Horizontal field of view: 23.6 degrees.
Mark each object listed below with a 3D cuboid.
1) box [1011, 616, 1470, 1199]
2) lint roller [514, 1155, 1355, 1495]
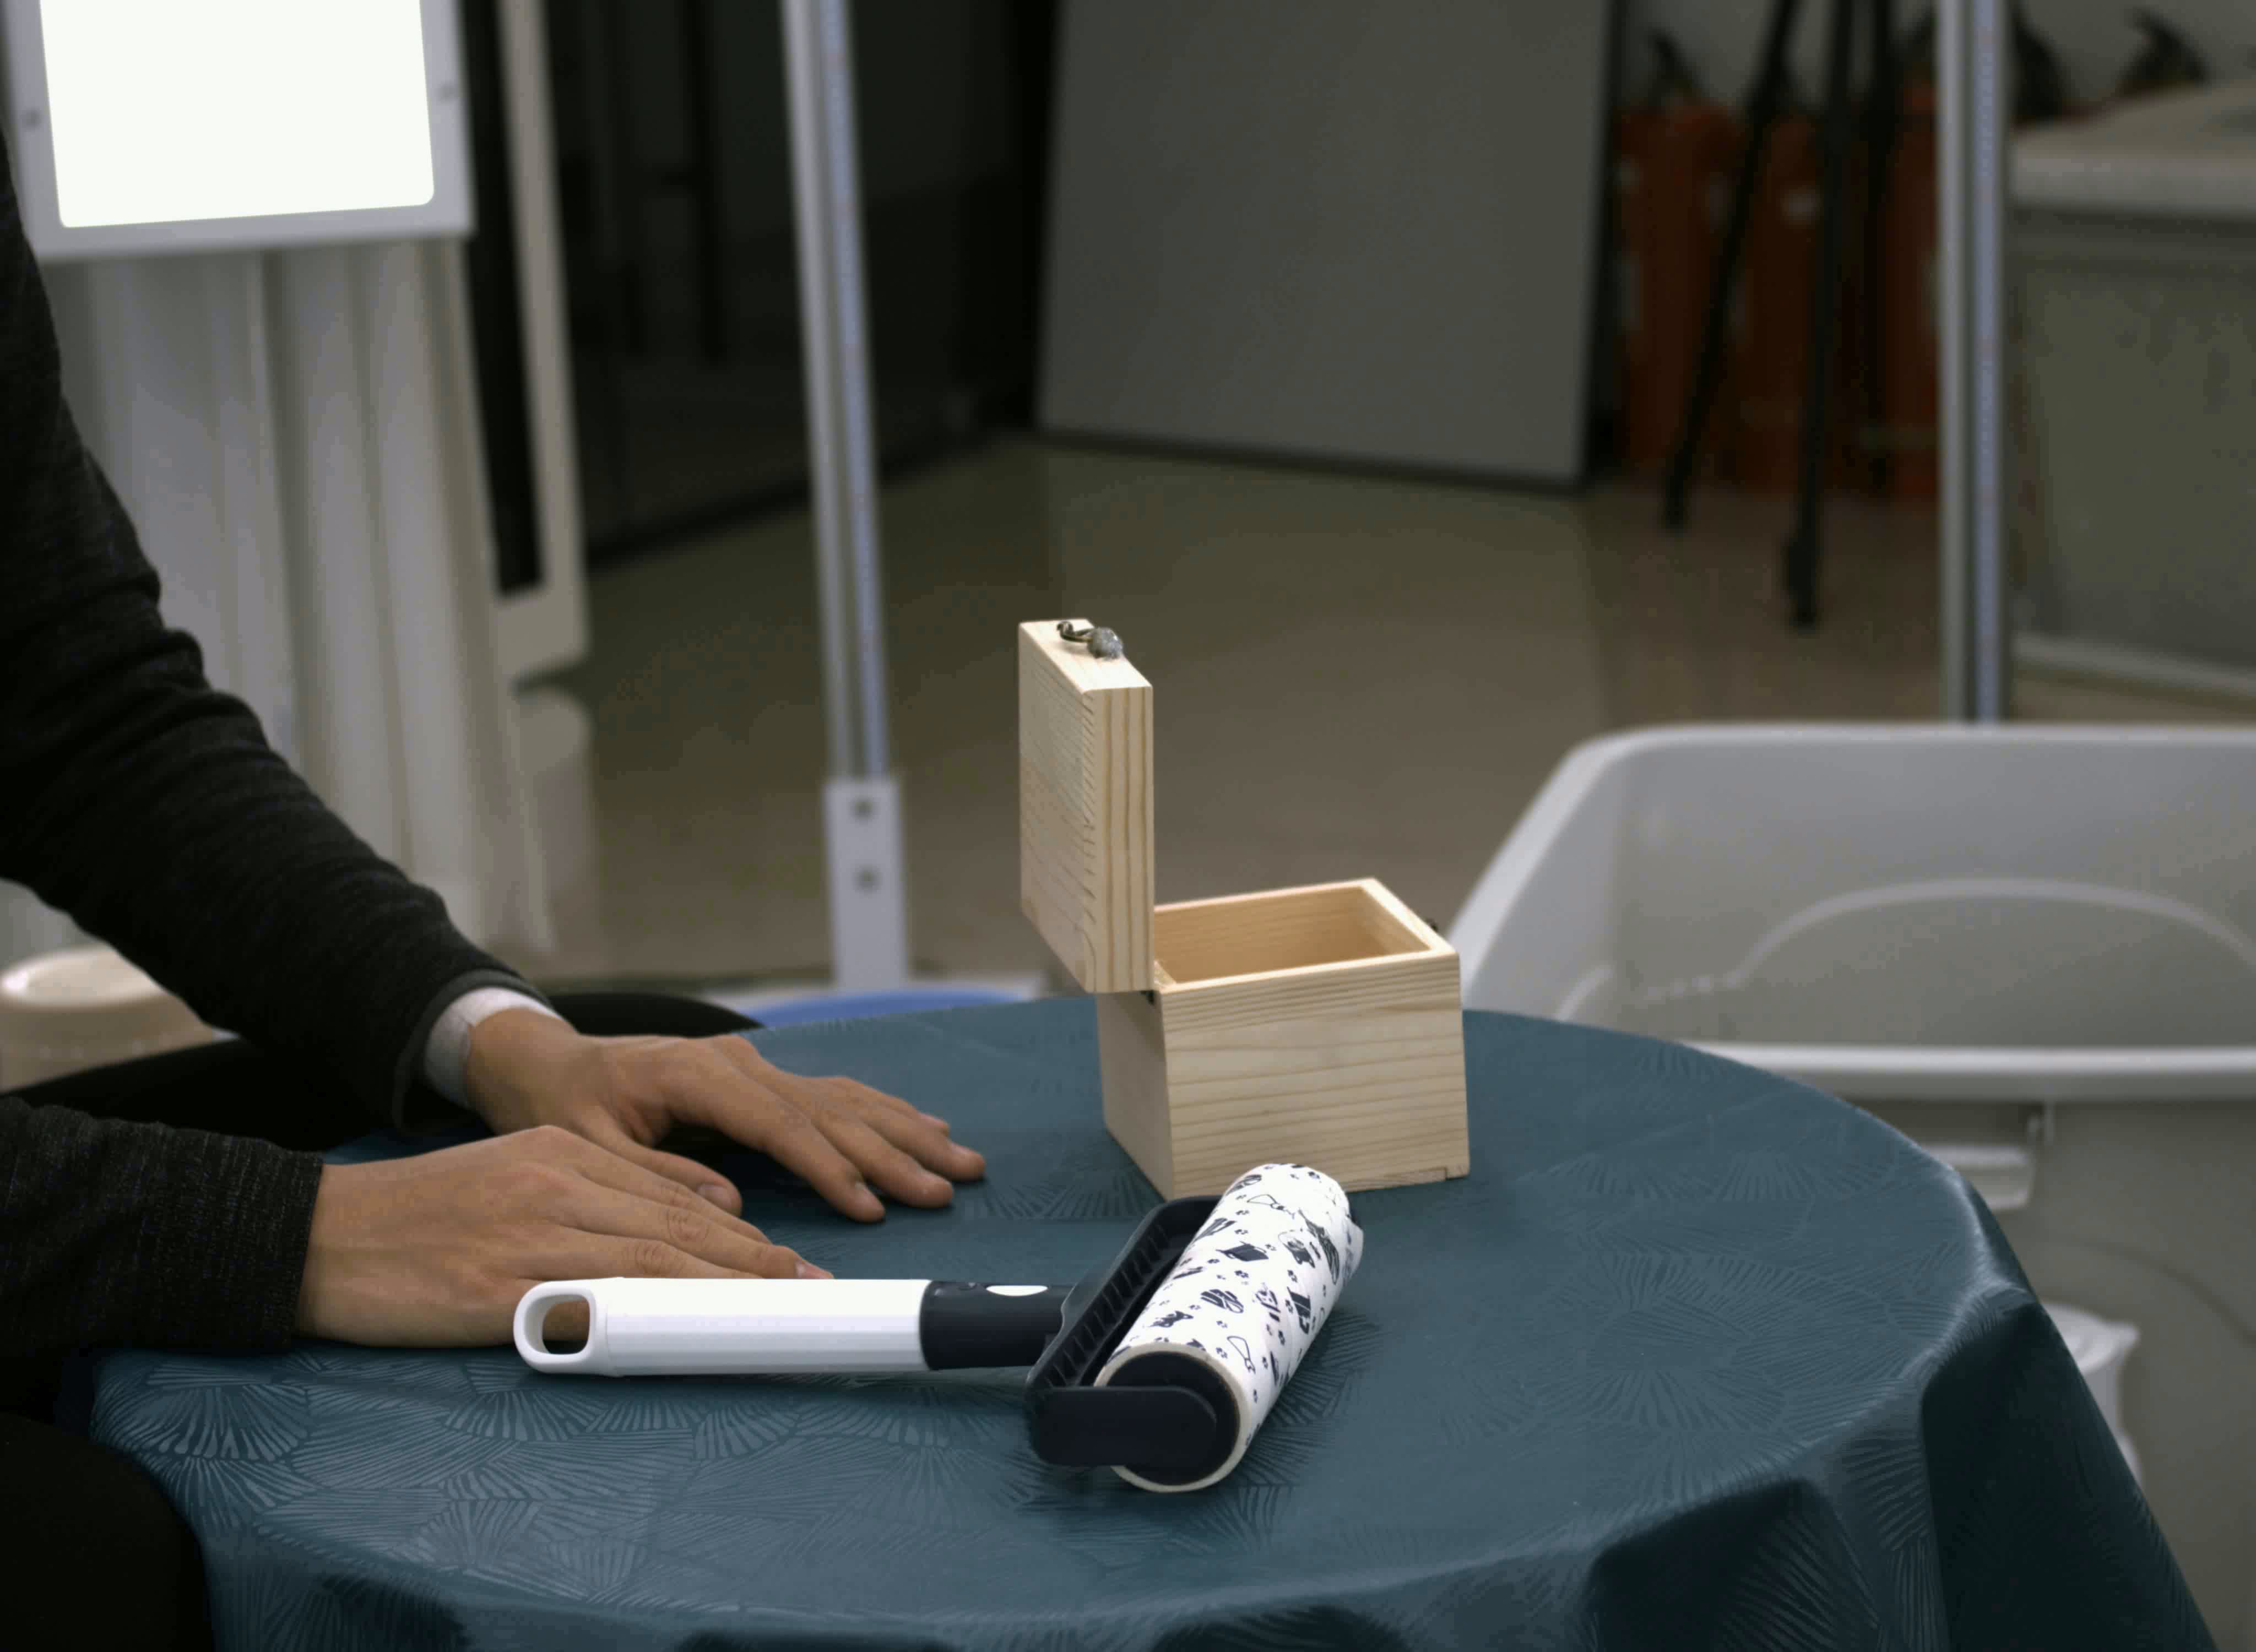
[{"bbox_3d":[0.038,0.022,1.775,0.131,0.186,0.103,-7,13,-11],"label":"box"},{"bbox_3d":[-0.067,0.146,1.597,0.246,0.051,0.175,-1,15,16],"label":"lint roller"}]
